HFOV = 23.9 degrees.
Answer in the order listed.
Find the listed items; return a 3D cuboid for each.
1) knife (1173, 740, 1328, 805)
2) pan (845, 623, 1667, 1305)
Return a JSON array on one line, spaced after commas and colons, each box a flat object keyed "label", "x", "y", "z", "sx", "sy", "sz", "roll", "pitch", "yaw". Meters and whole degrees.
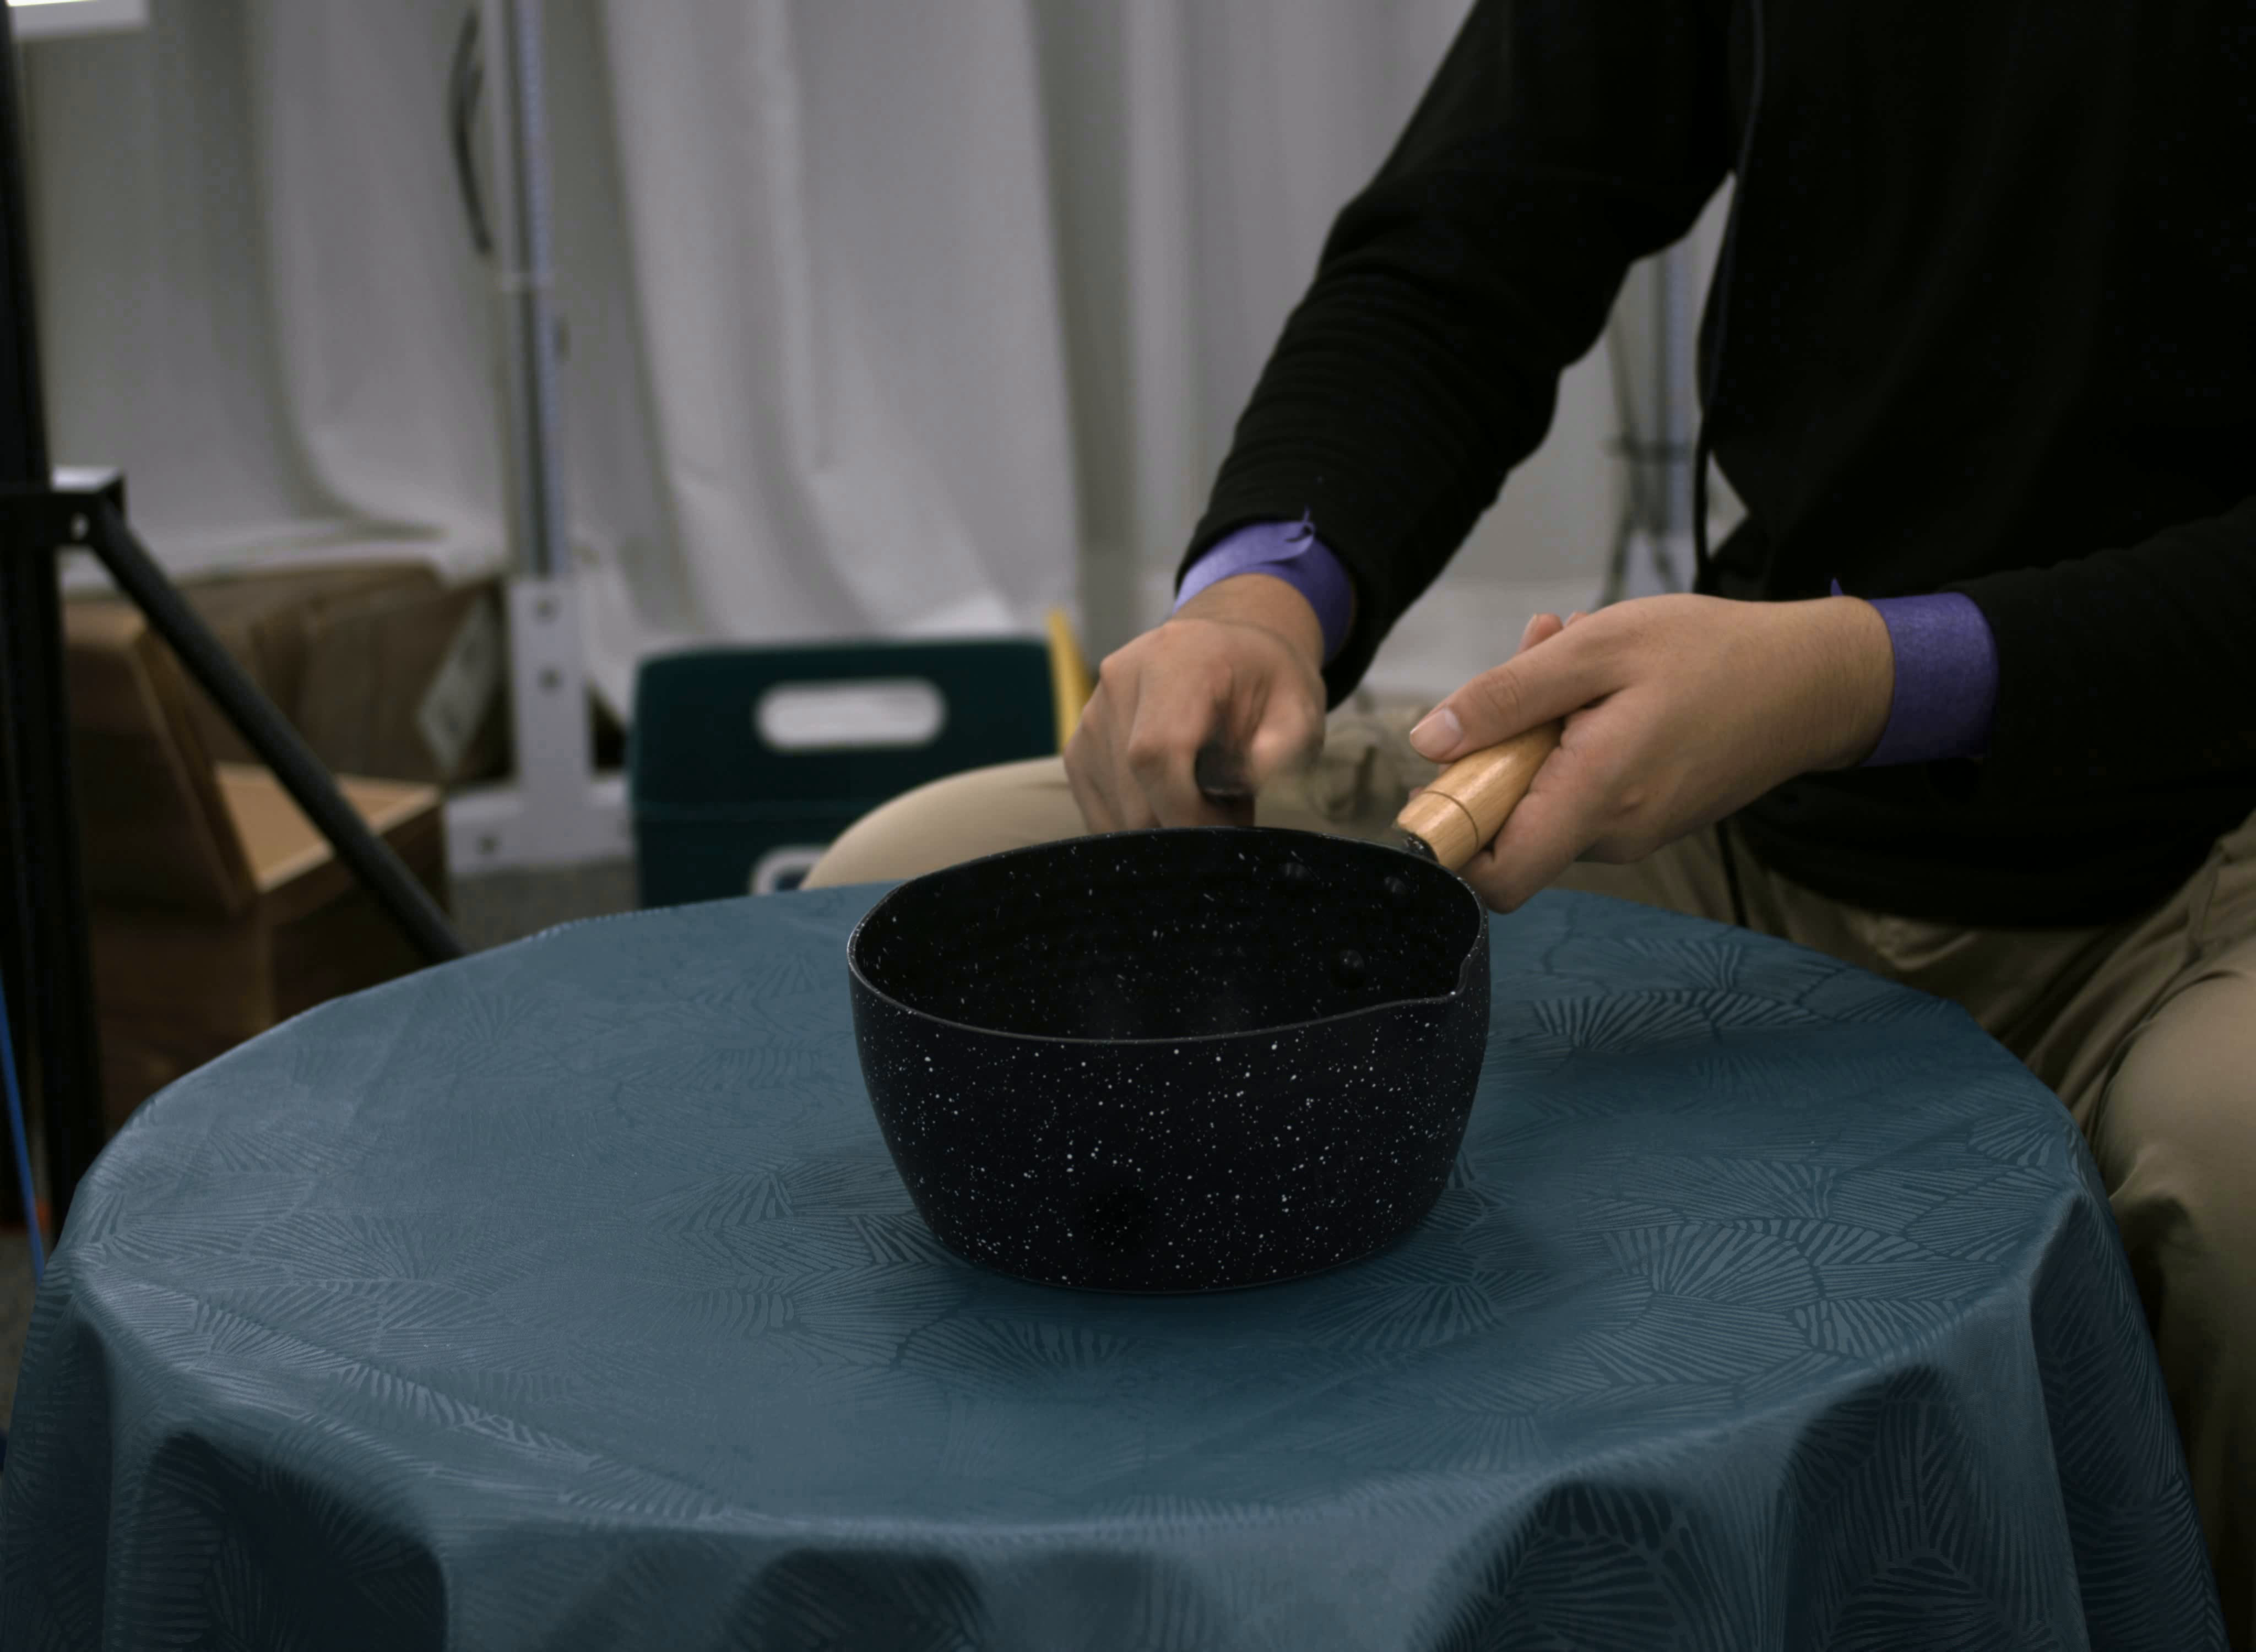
[{"label": "knife", "x": 0.037, "y": -0.015, "z": 1.634, "sx": 0.024, "sy": 0.016, "sz": 0.239, "roll": -22, "pitch": 5, "yaw": -6}, {"label": "pan", "x": 0.060, "y": 0.036, "z": 1.581, "sx": 0.212, "sy": 0.108, "sz": 0.336, "roll": 10, "pitch": 24, "yaw": 37}]
